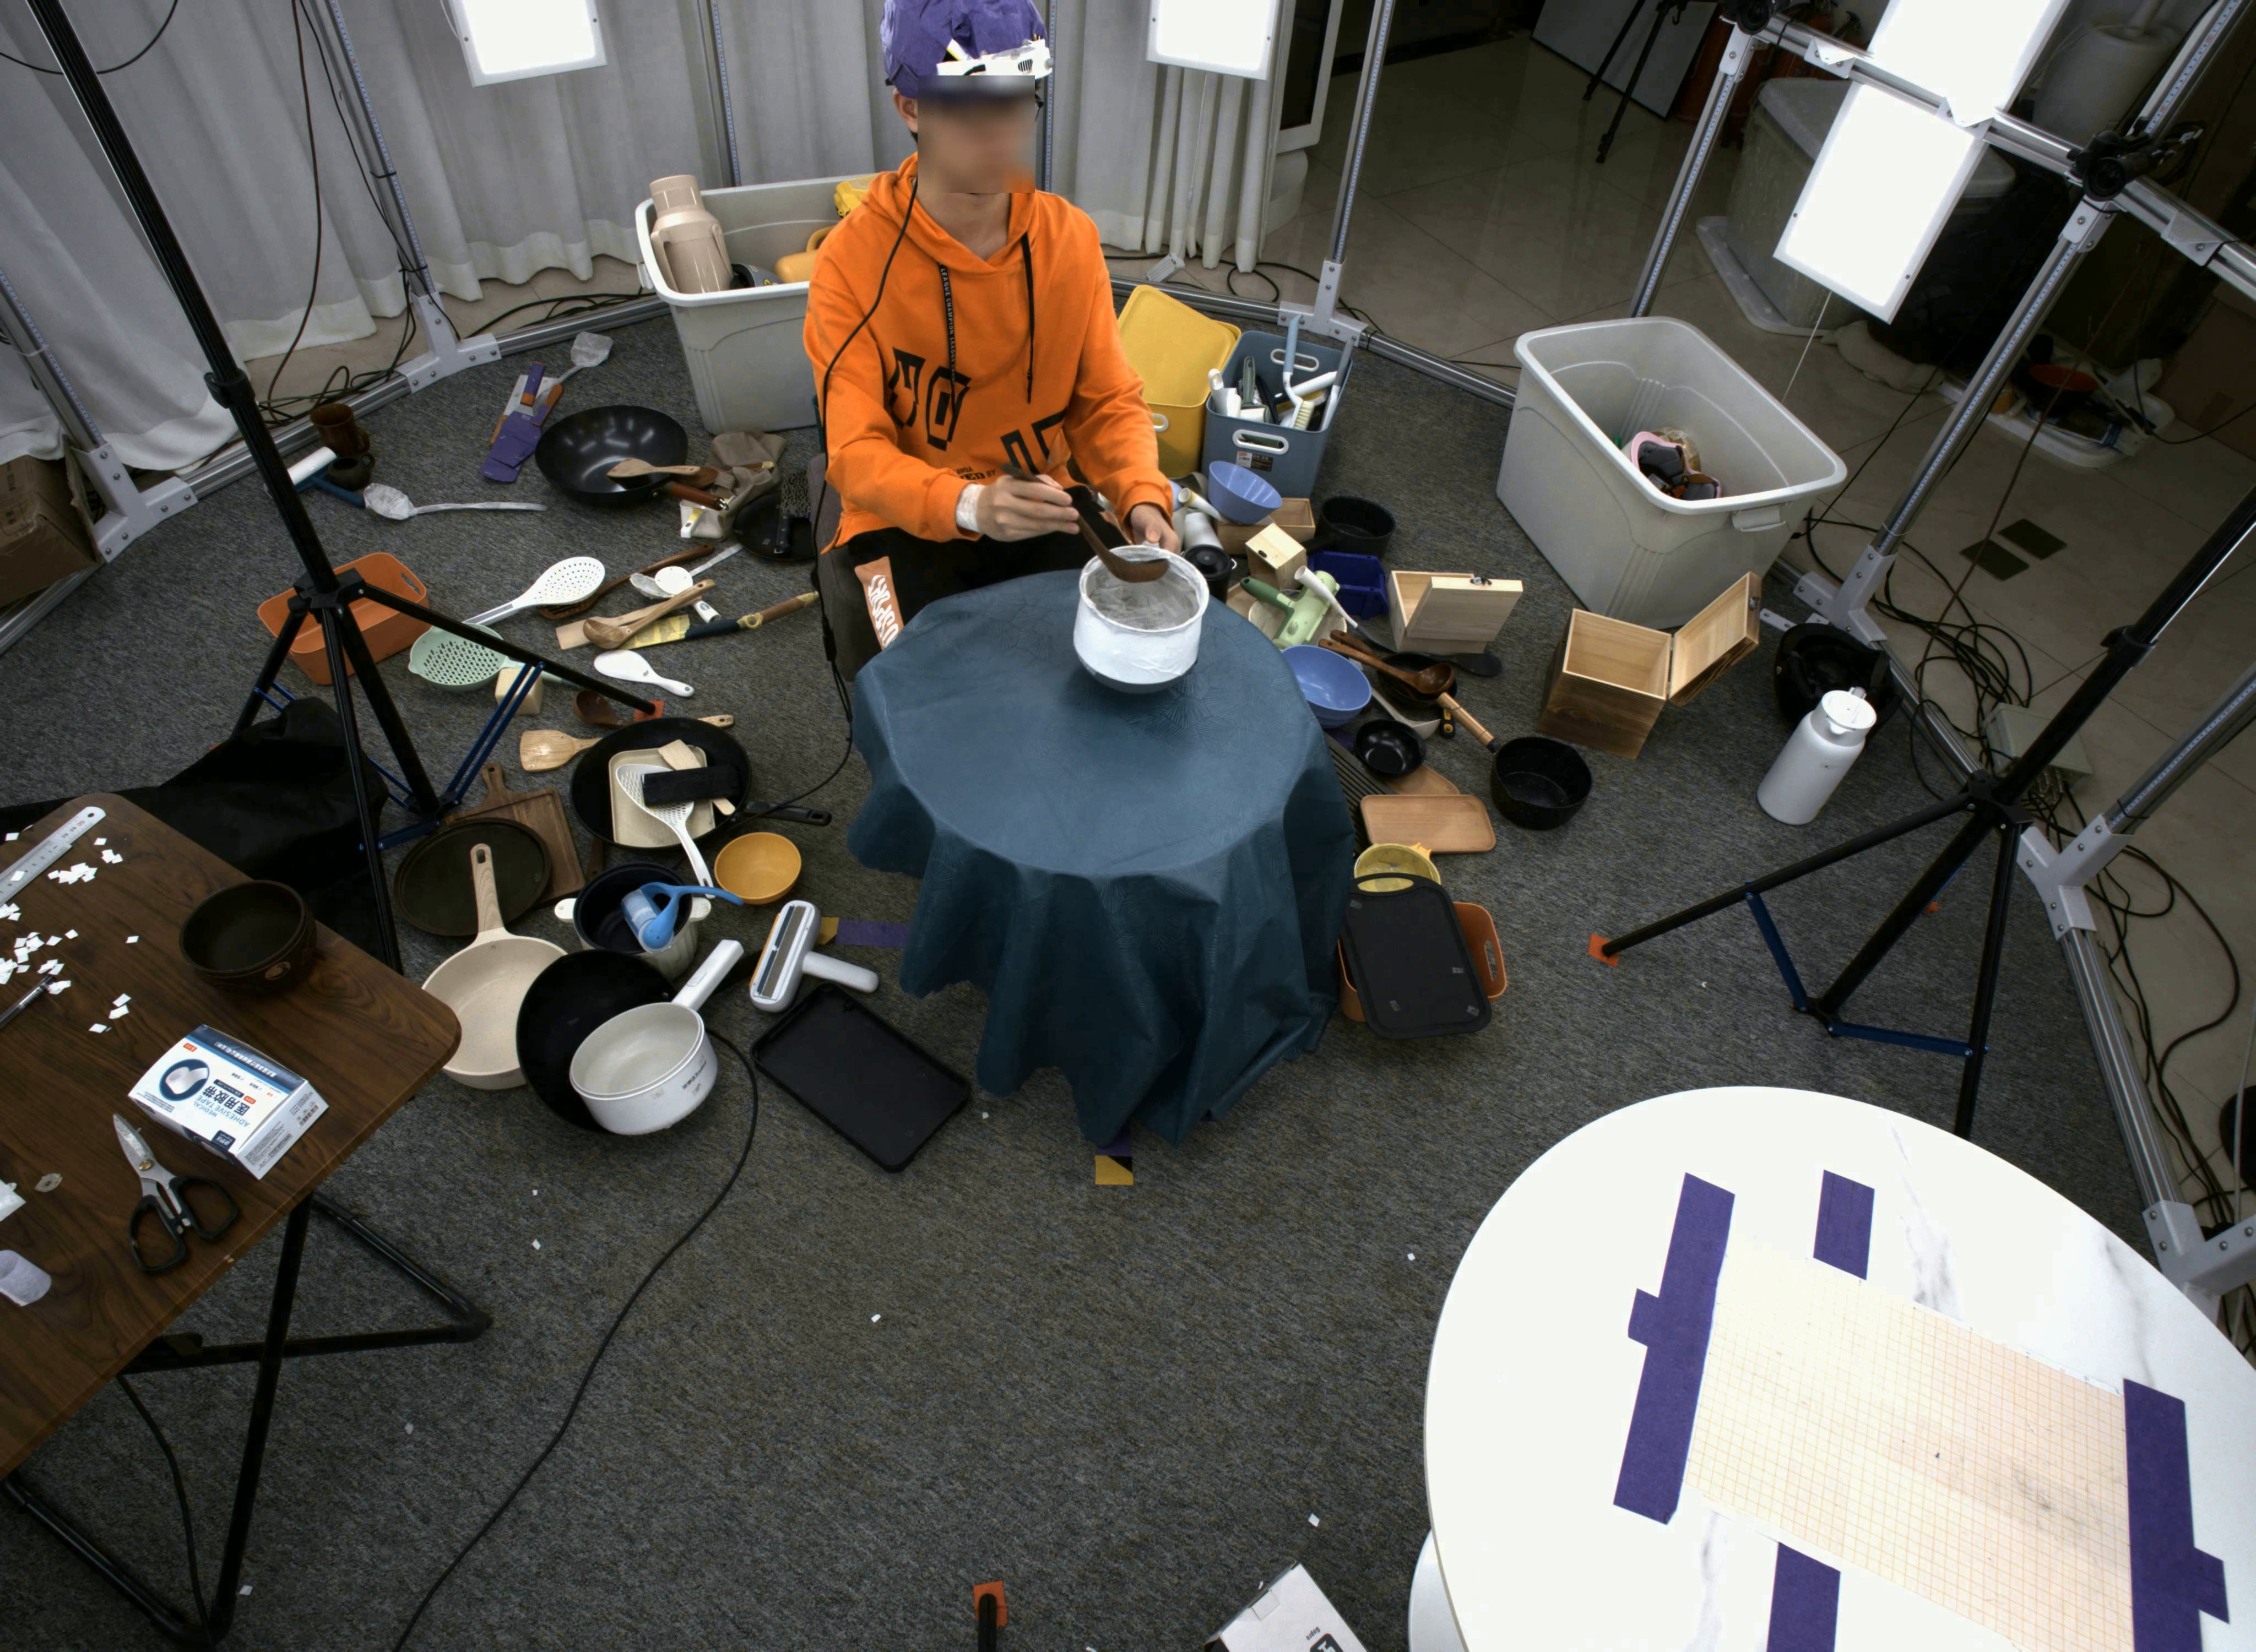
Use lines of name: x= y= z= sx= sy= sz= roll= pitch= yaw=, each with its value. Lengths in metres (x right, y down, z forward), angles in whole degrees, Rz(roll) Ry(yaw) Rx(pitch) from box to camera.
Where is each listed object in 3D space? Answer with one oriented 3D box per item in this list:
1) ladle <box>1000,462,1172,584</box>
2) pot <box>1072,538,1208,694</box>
ladle: x=-0.050 y=-0.411 z=1.704 sx=0.076 sy=0.269 sz=0.072 roll=4 pitch=61 yaw=56
pot: x=0.016 y=-0.303 z=1.798 sx=0.178 sy=0.133 sz=0.239 roll=8 pitch=49 yaw=-2
